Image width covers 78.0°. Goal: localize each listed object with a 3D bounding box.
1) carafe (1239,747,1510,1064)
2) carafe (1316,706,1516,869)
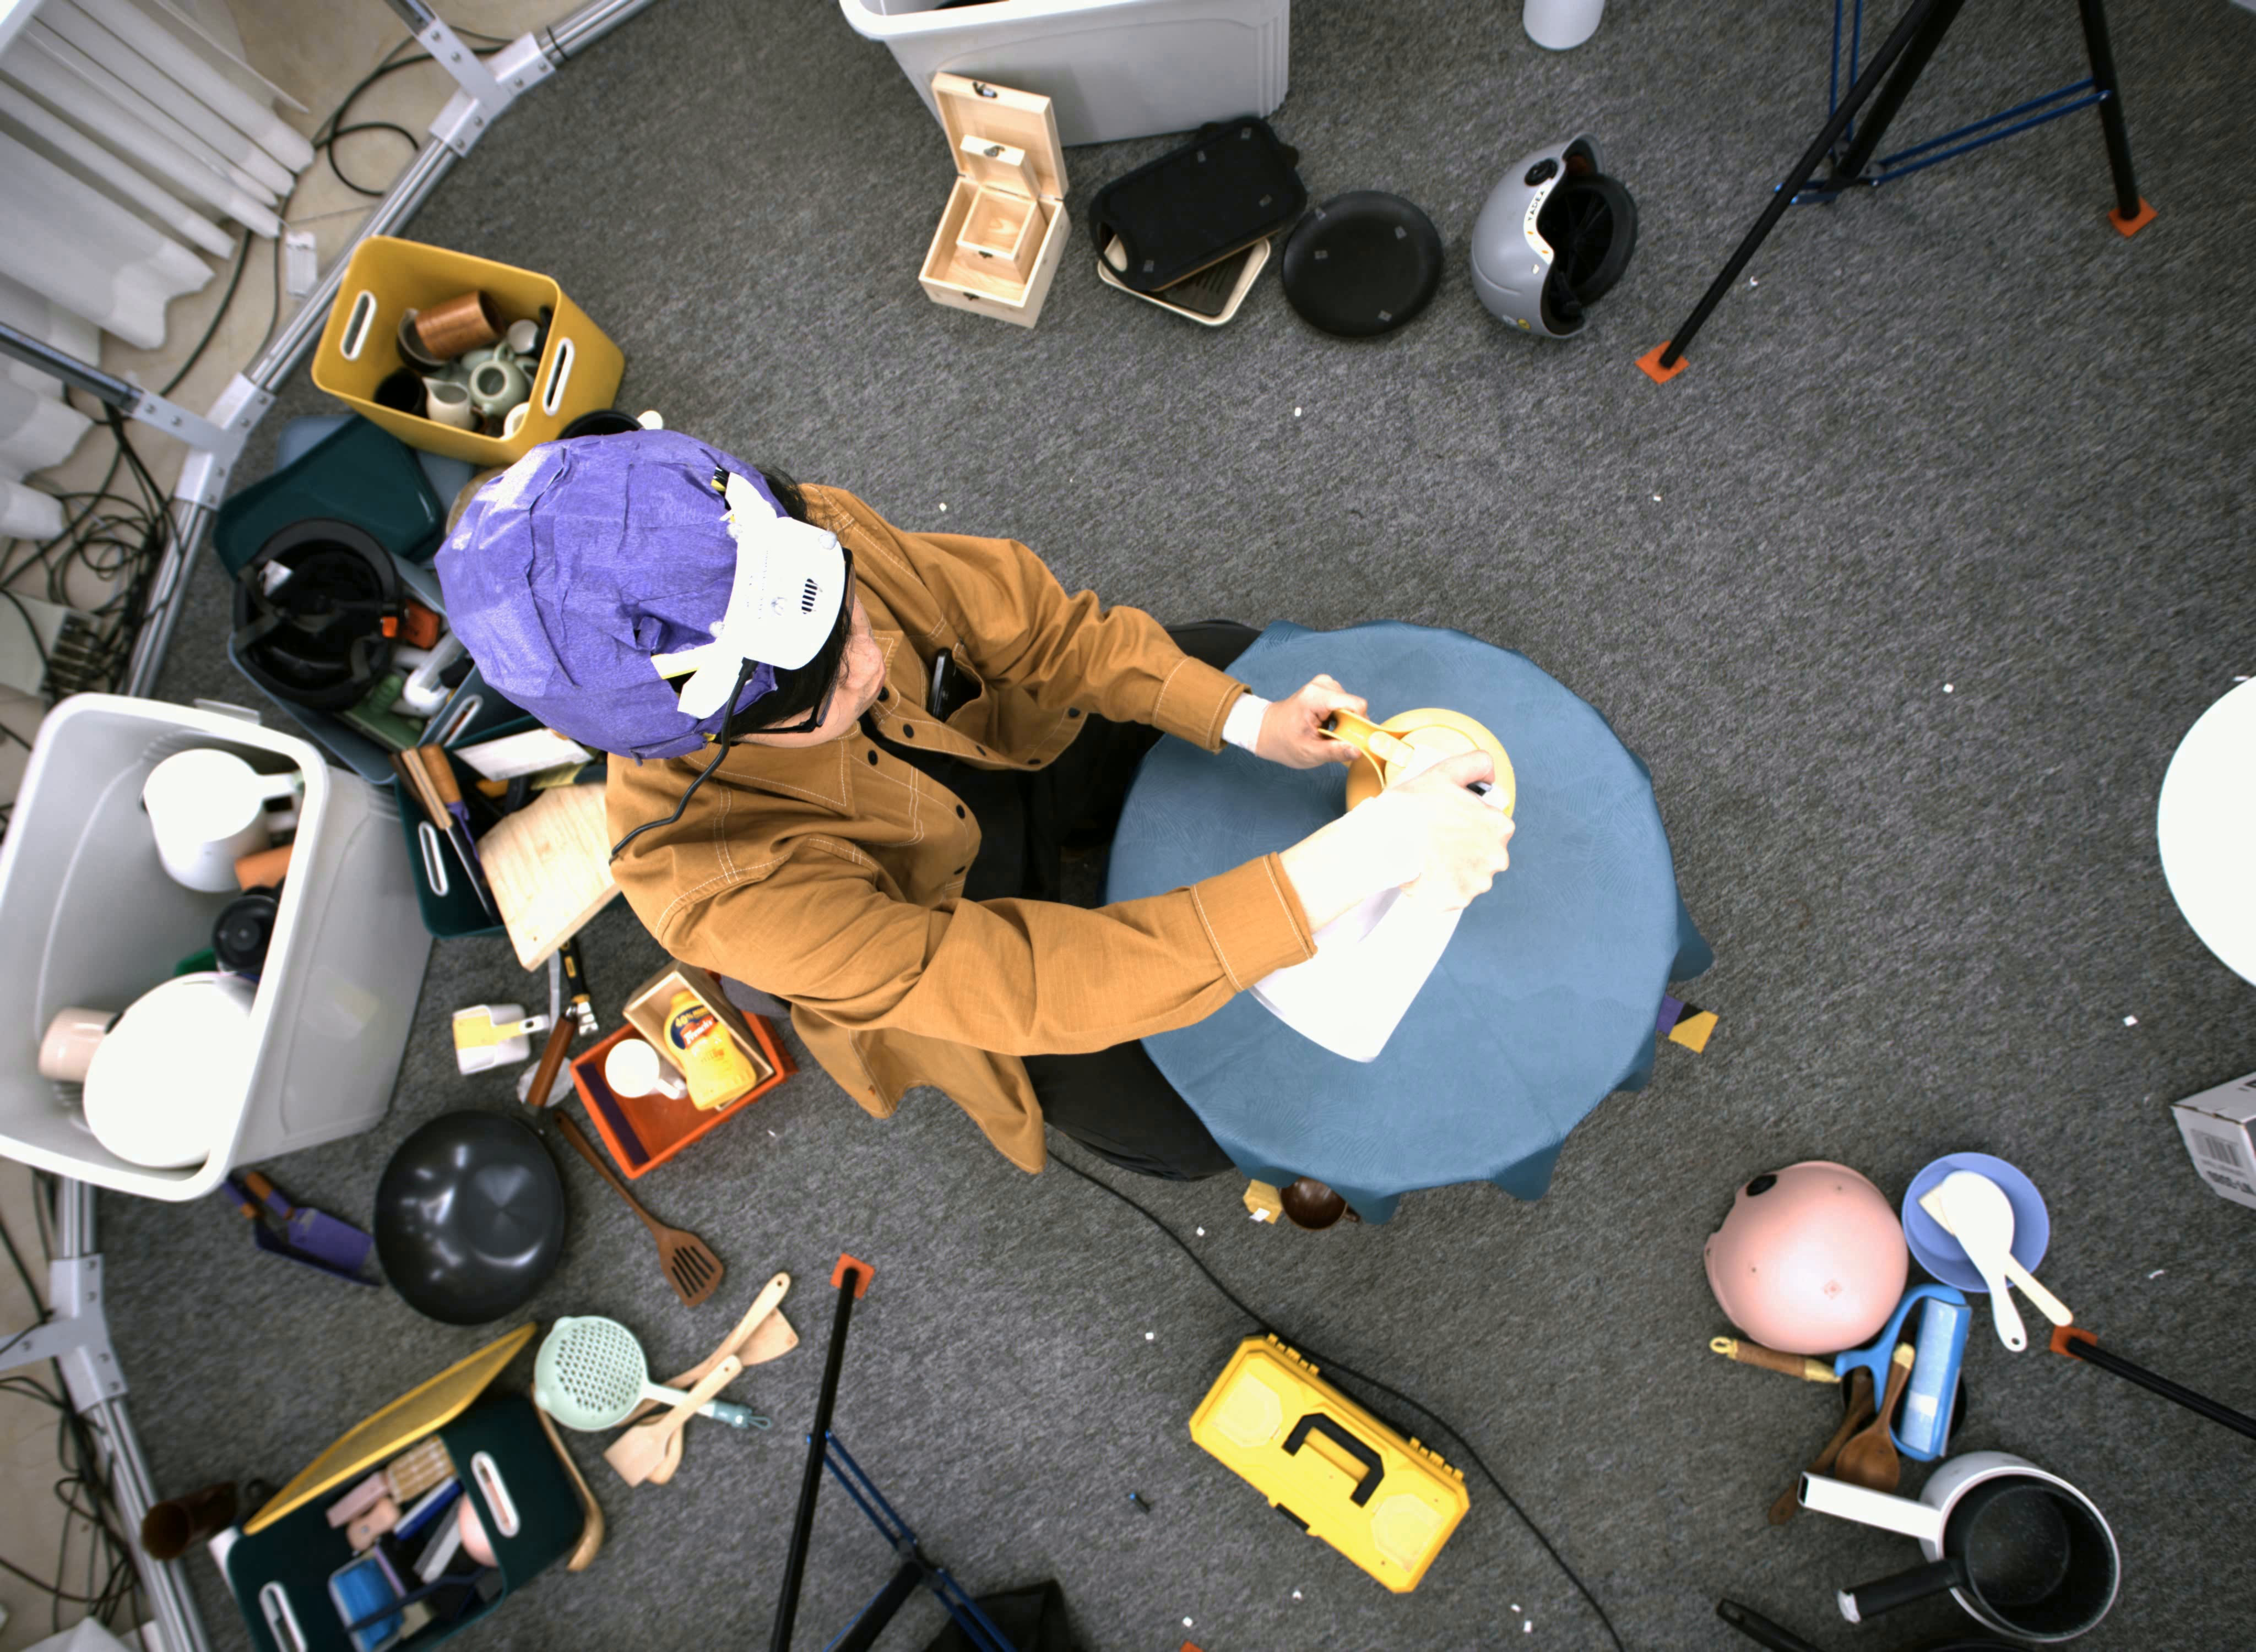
[{"bbox_3d":[0.212,0.061,1.120,0.133,0.166,0.251,31,102,-3],"label":"carafe"},{"bbox_3d":[0.276,-0.045,1.335,0.202,0.261,0.163,34,90,10],"label":"carafe"}]
